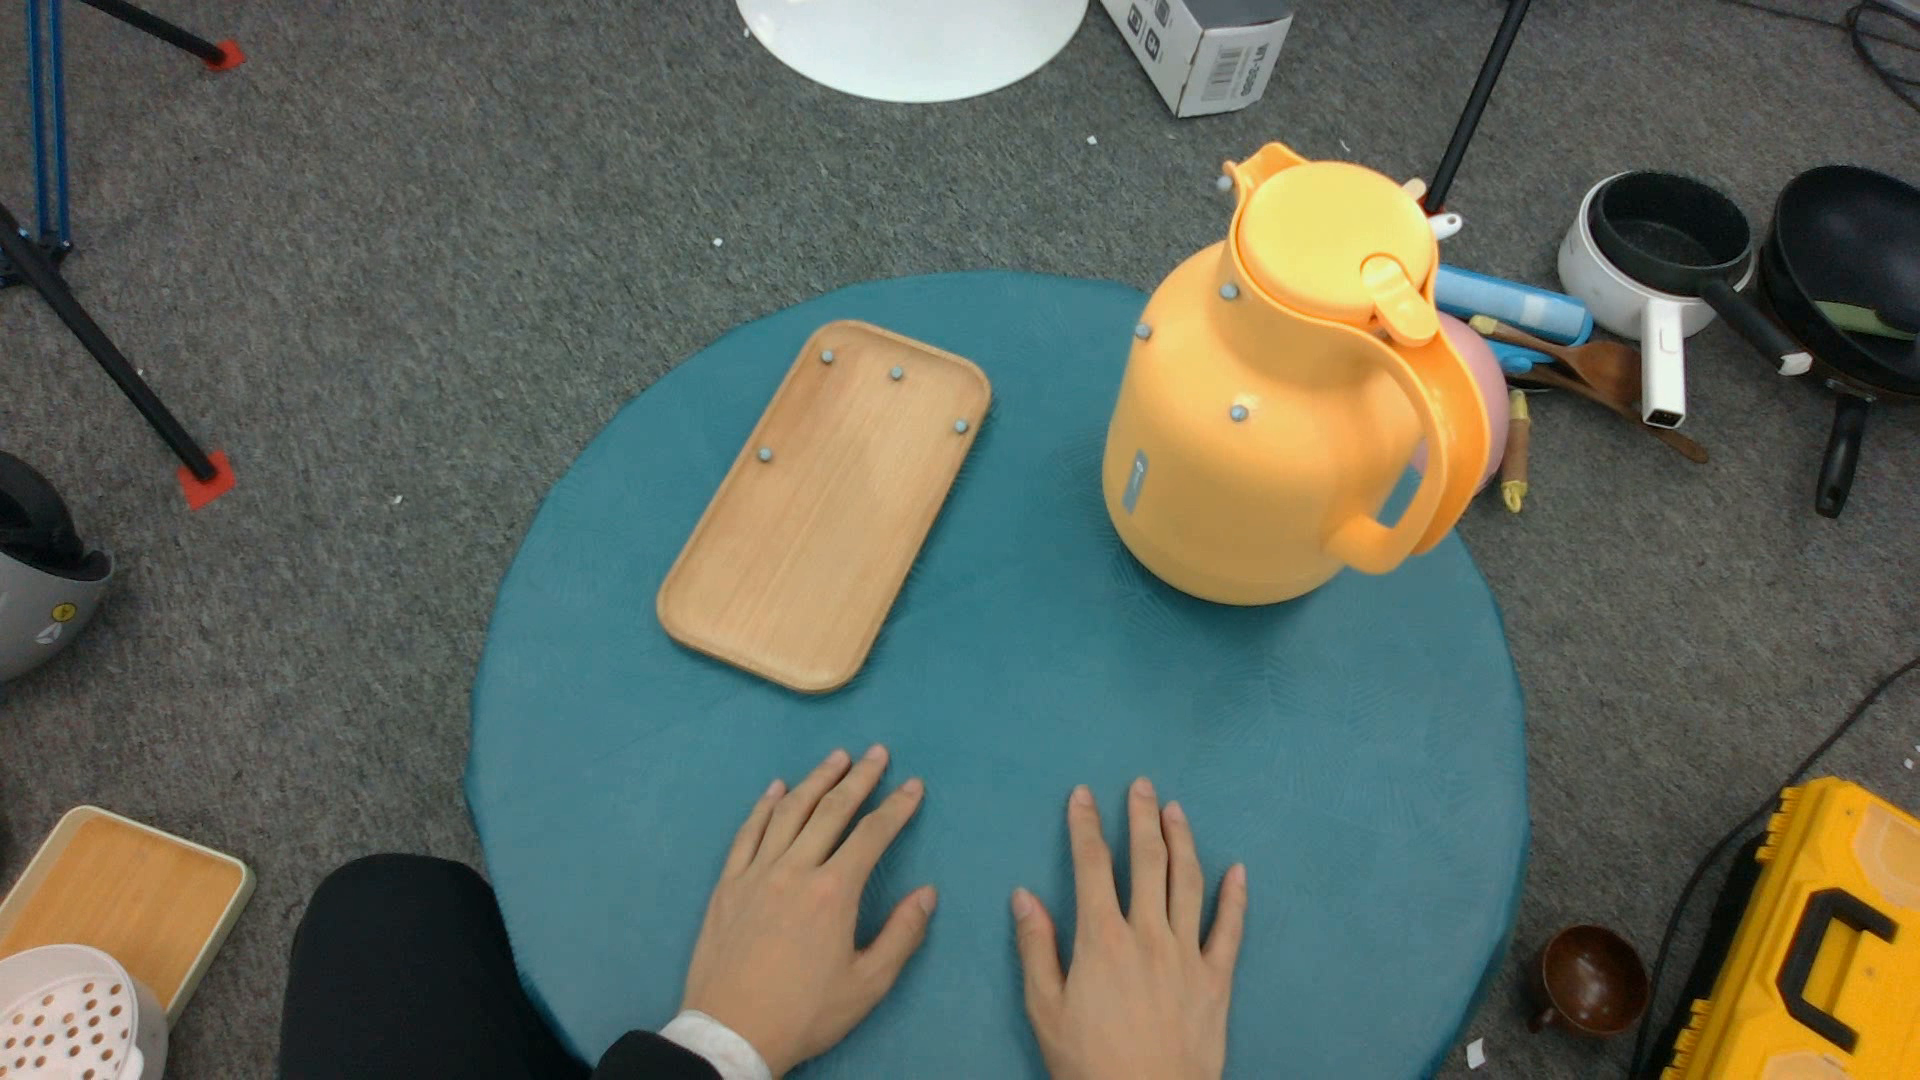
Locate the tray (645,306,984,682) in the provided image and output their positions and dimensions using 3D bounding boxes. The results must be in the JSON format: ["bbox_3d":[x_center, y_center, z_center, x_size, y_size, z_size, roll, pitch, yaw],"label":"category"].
[{"bbox_3d":[-0.083,-0.035,0.836,0.130,0.023,0.252,20,62,11],"label":"tray"}]

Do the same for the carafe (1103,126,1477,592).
[{"bbox_3d":[0.175,-0.076,0.734,0.164,0.259,0.203,-24,63,-13],"label":"carafe"}]
